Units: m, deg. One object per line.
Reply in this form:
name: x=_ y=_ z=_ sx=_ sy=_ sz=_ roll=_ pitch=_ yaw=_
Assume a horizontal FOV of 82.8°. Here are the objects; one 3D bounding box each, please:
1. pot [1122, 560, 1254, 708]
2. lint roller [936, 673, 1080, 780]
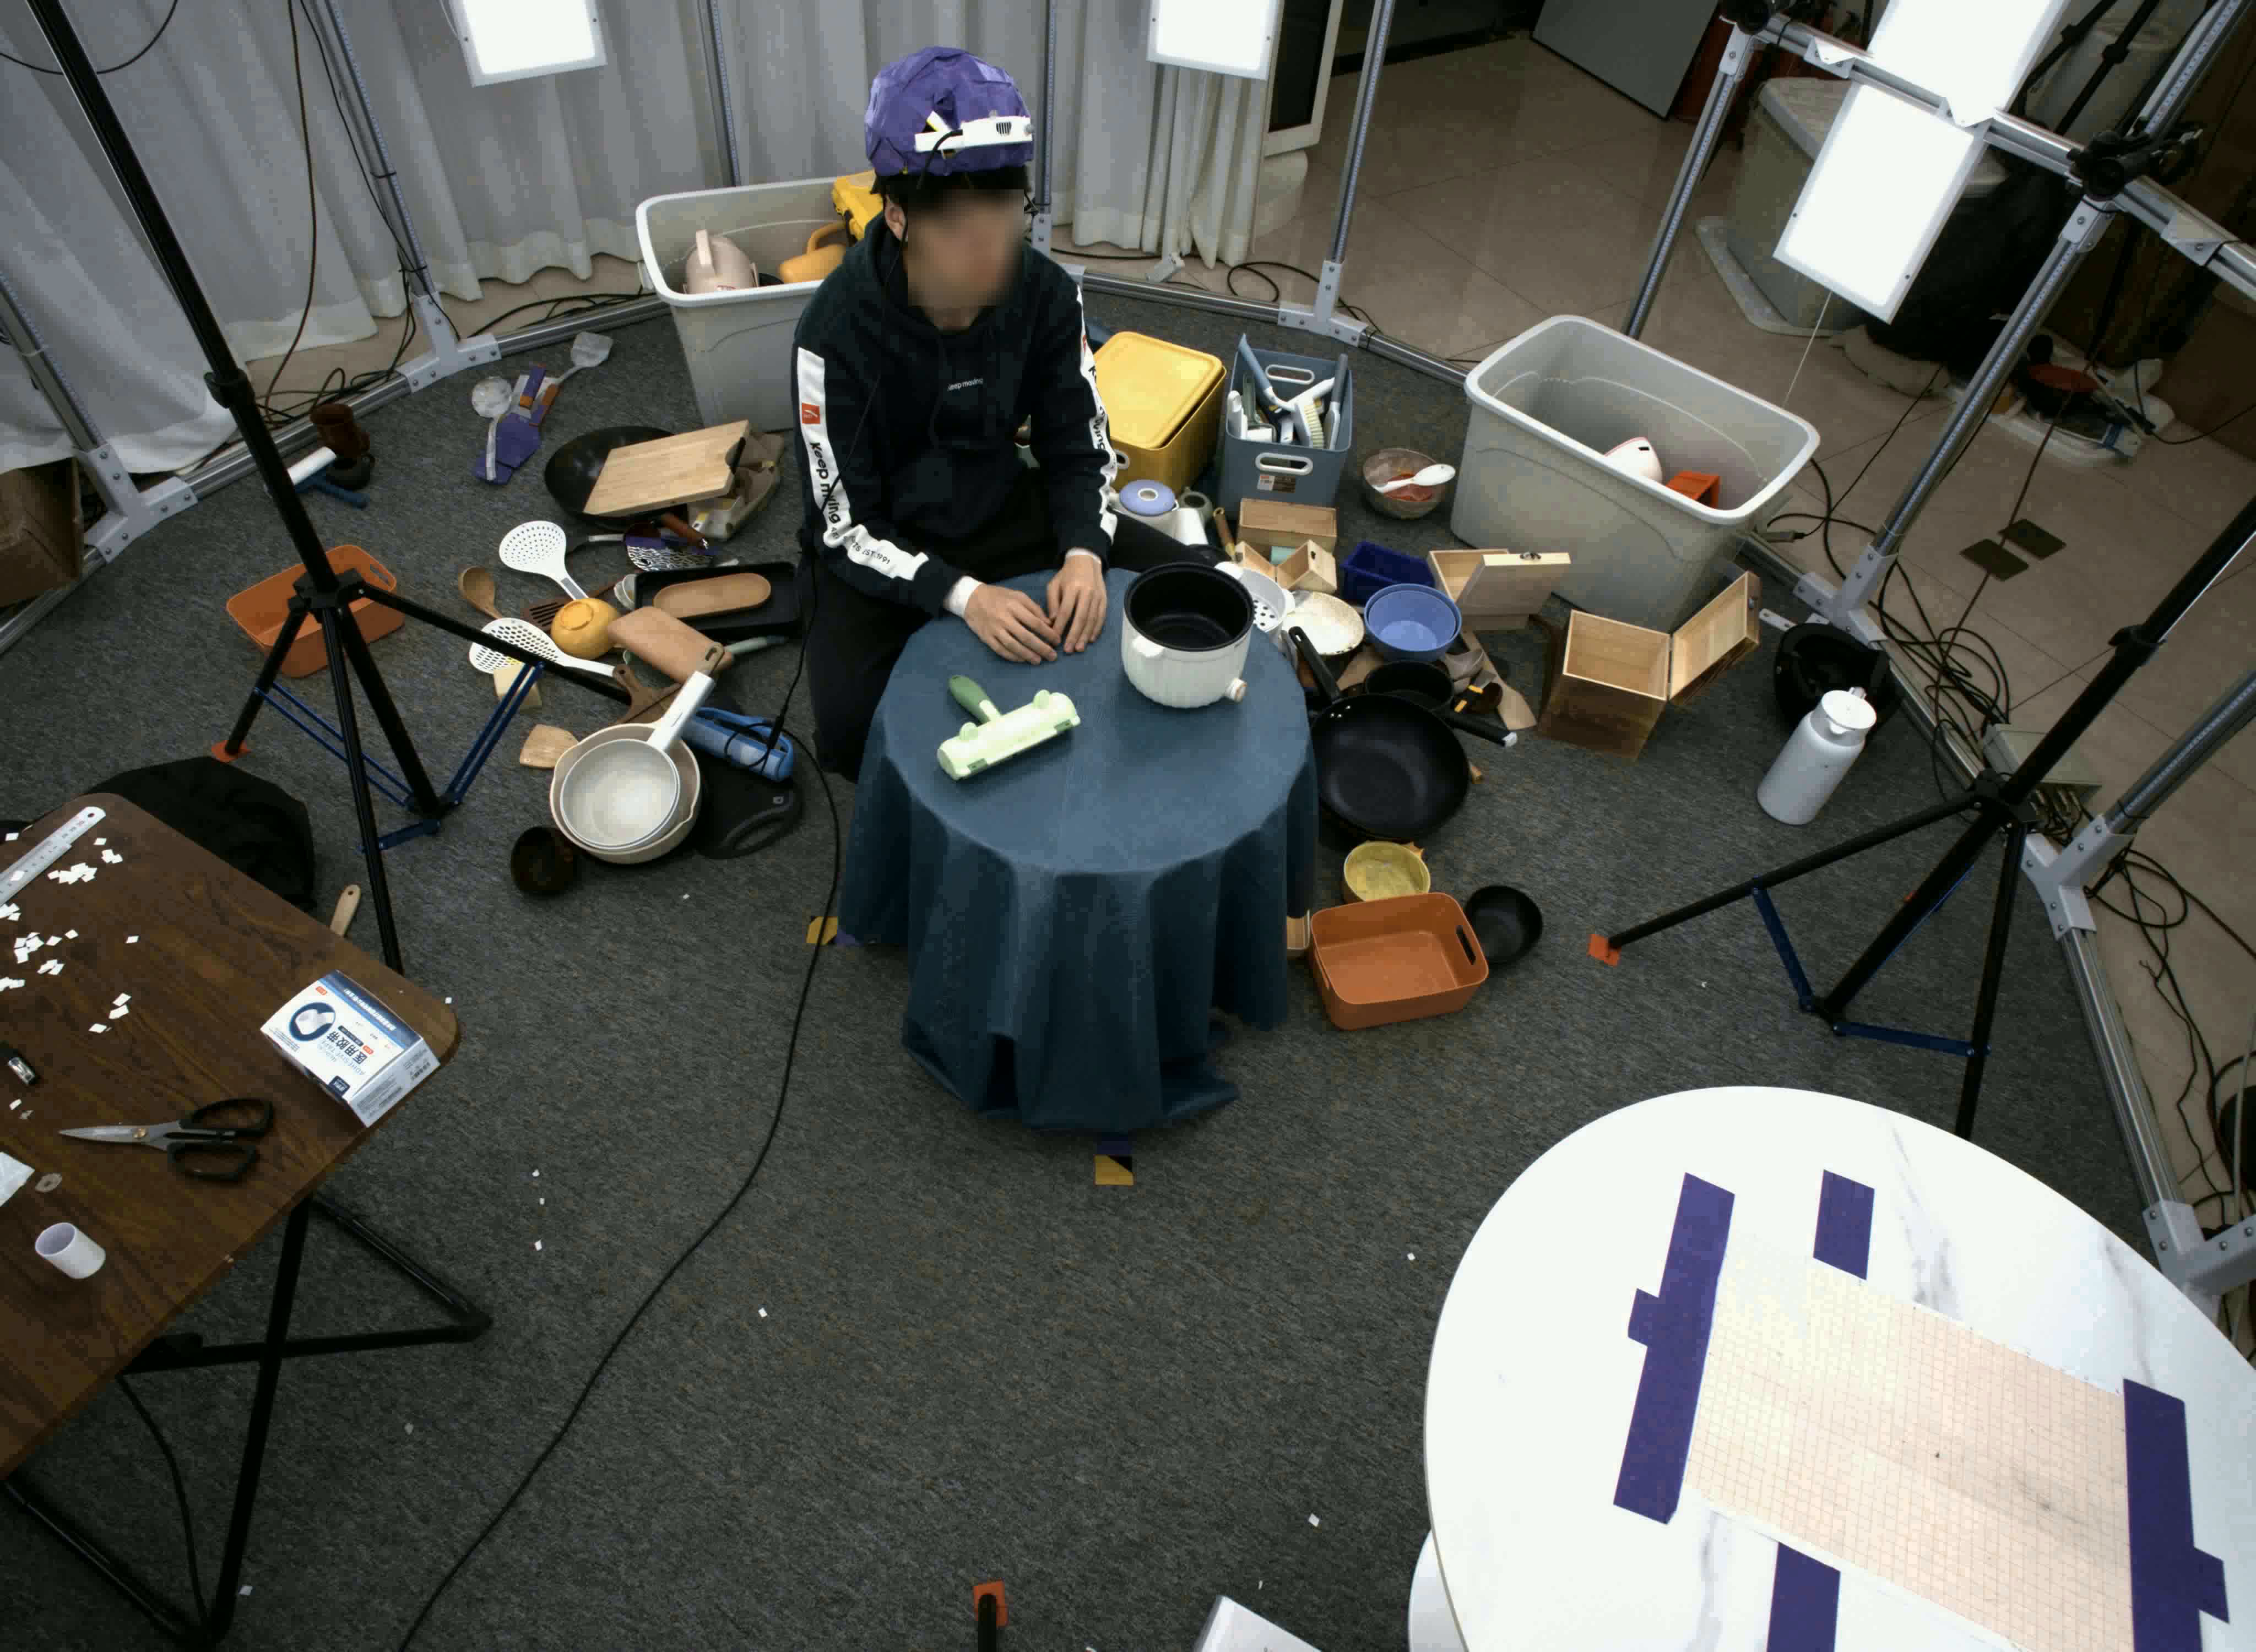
pot: x=0.085 y=-0.260 z=1.810 sx=0.192 sy=0.139 sz=0.243 roll=28 pitch=54 yaw=23
lint roller: x=-0.192 y=-0.165 z=1.750 sx=0.199 sy=0.080 sz=0.186 roll=-26 pitch=61 yaw=-24
